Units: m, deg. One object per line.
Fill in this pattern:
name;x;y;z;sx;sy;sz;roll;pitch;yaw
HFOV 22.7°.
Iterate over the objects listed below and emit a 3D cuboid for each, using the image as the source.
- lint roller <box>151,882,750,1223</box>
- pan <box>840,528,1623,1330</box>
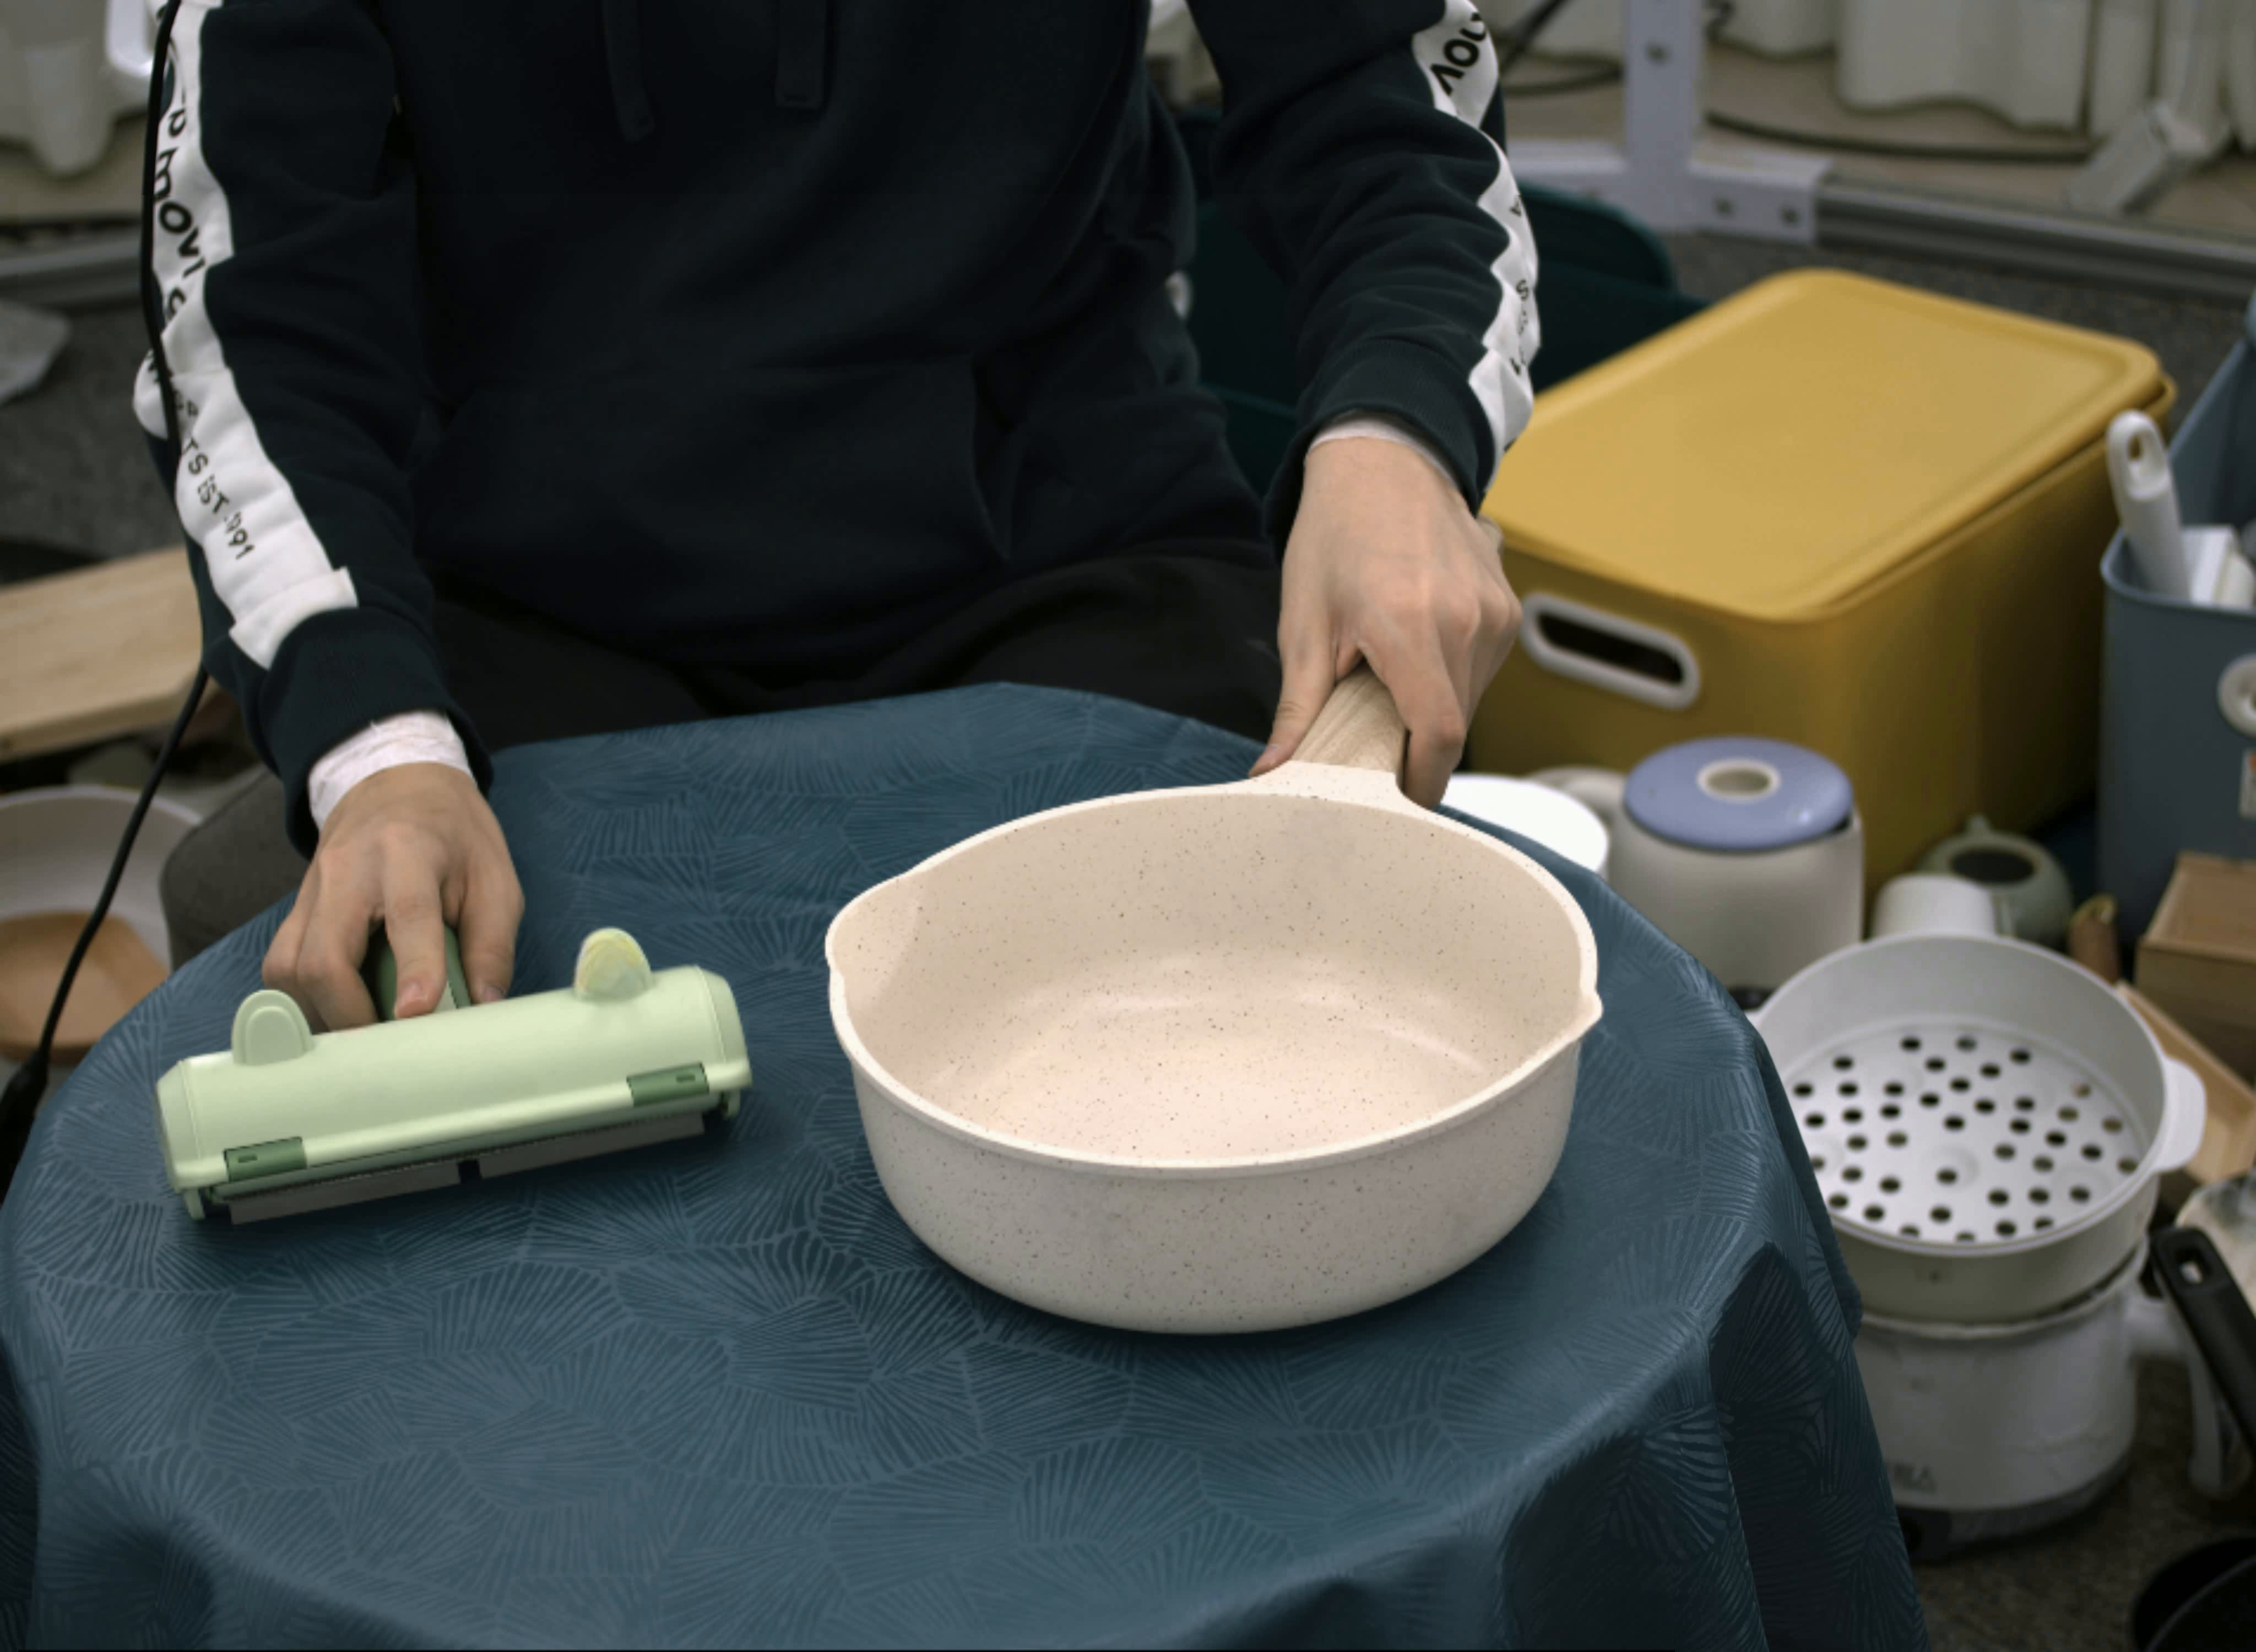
lint roller;-0.242;0.052;1.924;0.198;0.081;0.186;-11;37;-12
pan;0.063;0.032;1.920;0.261;0.101;0.442;5;28;18
